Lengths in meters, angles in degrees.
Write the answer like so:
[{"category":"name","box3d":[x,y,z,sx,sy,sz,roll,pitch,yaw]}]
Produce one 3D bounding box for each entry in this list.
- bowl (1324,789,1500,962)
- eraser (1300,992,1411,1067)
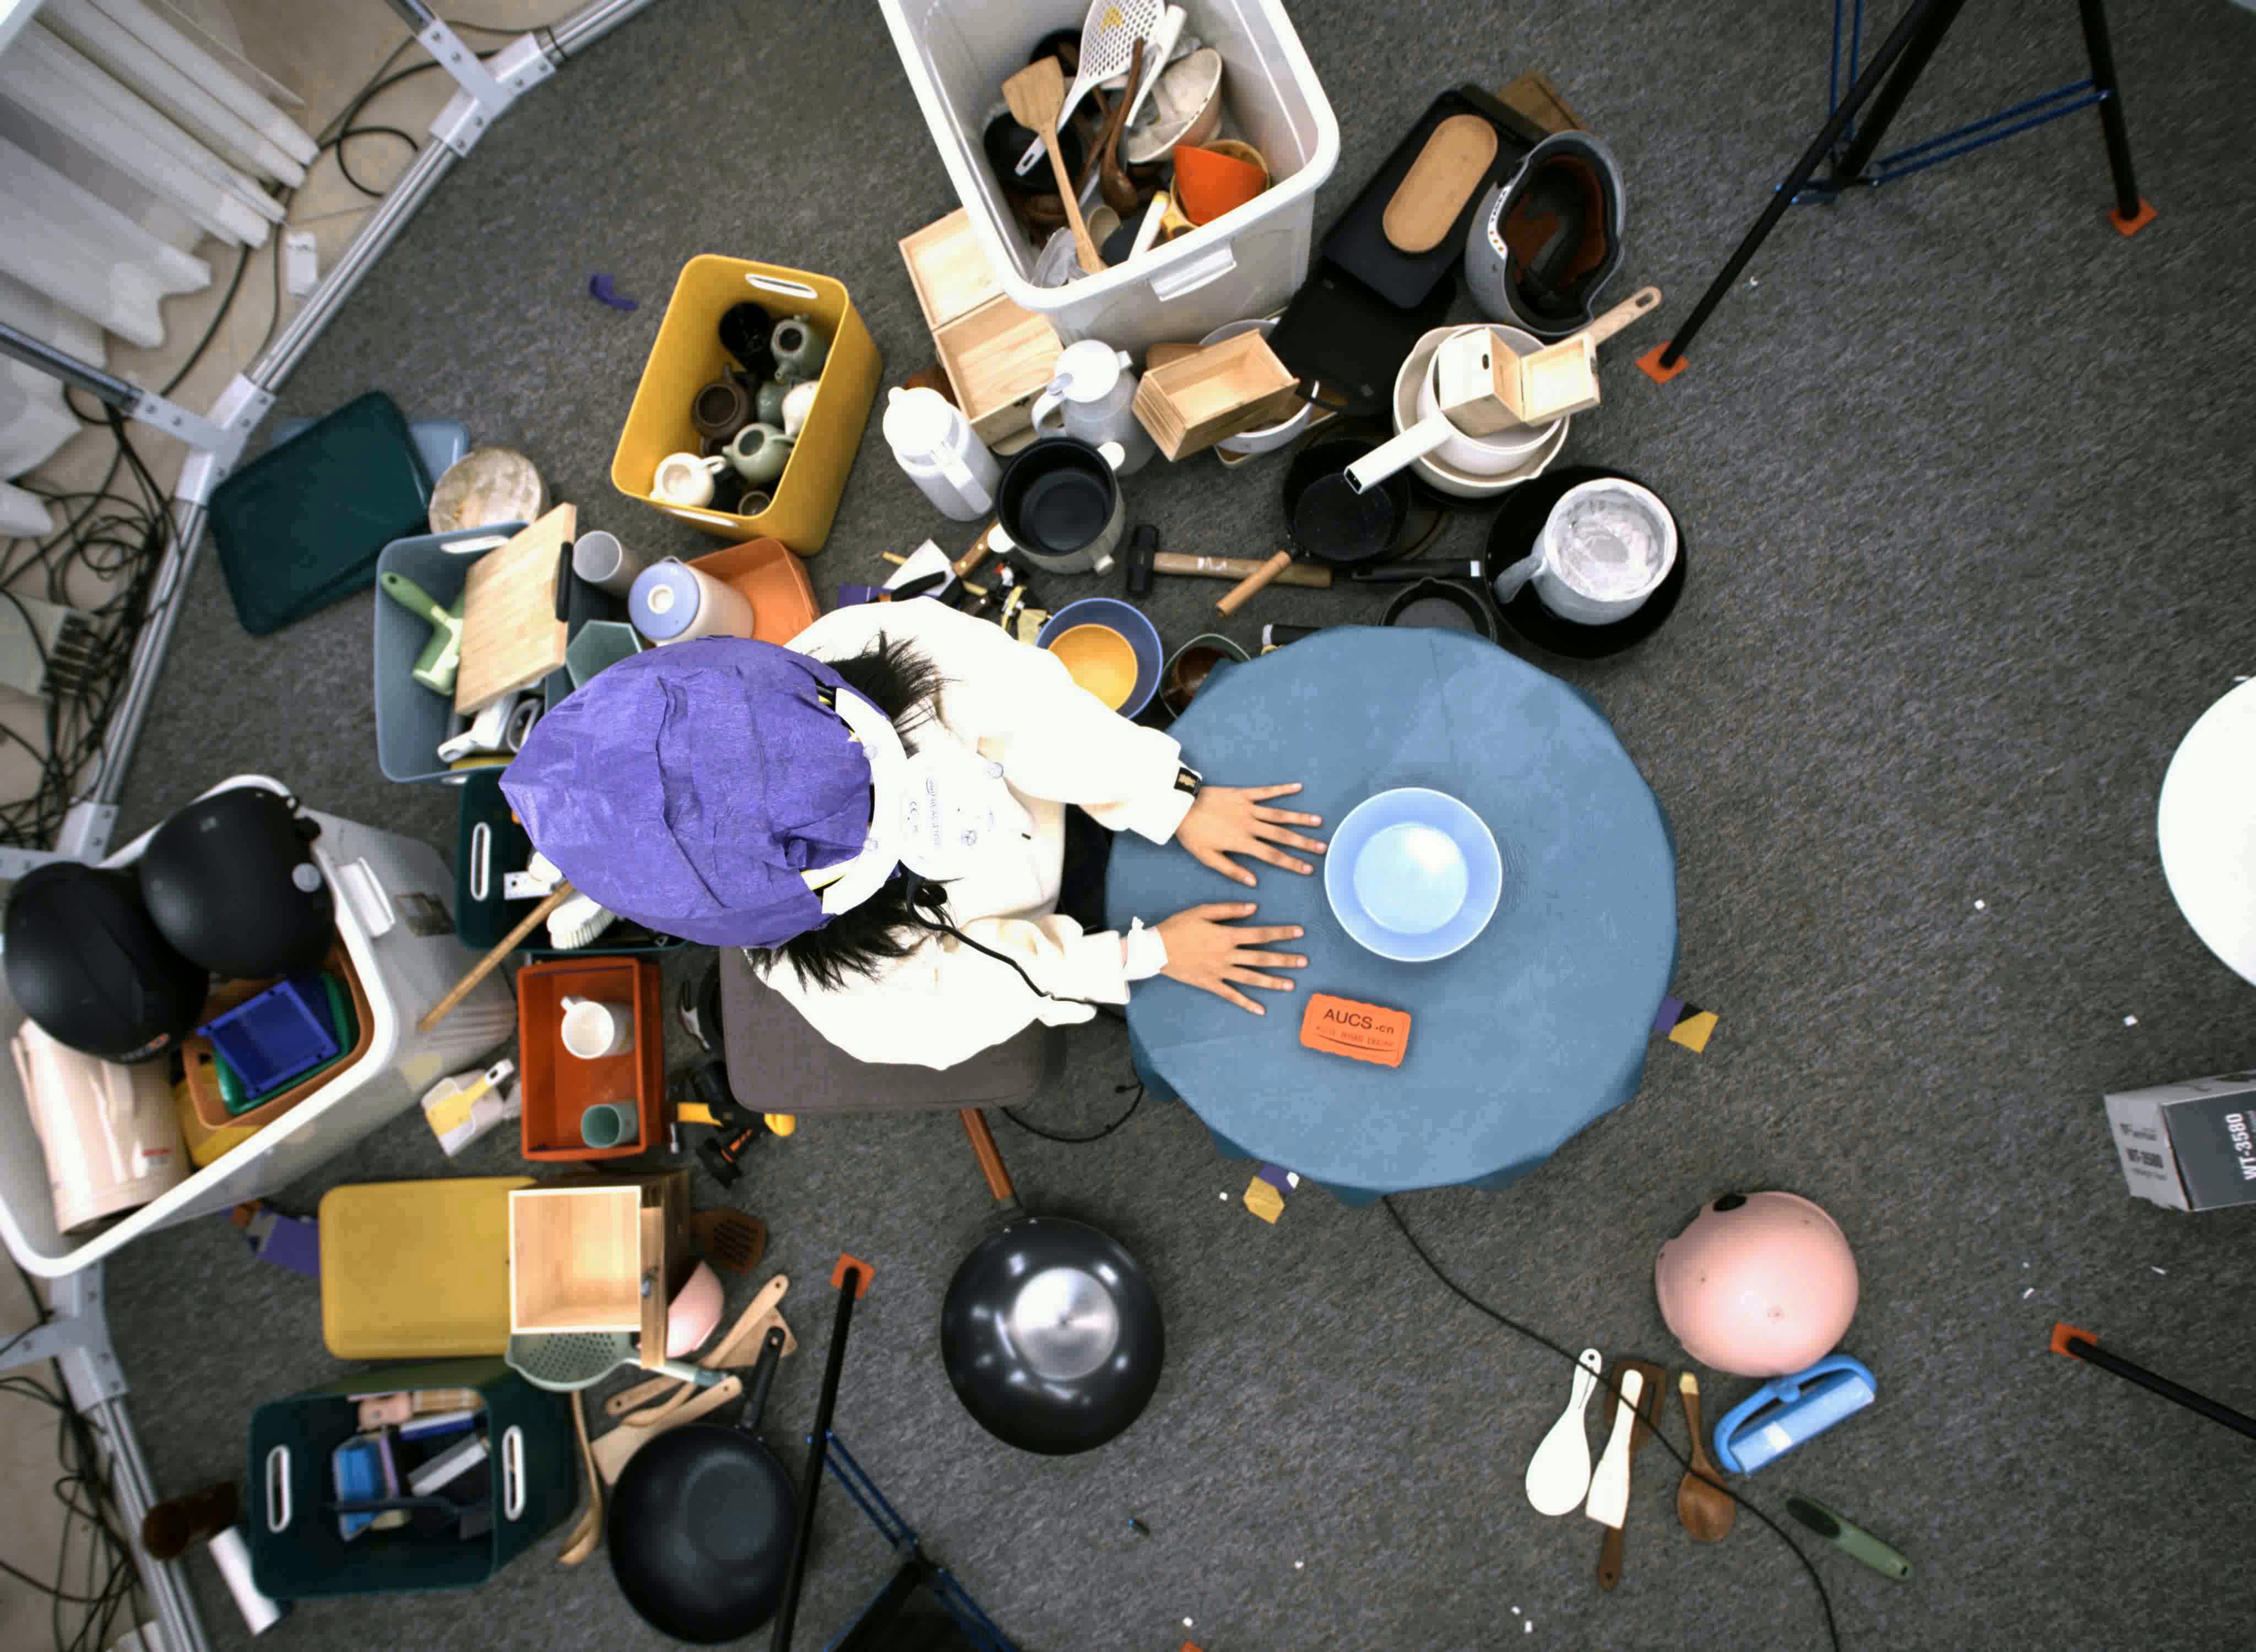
[{"category":"bowl","box3d":[0.290,0.051,1.421,0.177,0.070,0.175,-1,86,10]},{"category":"eraser","box3d":[0.238,0.211,1.447,0.108,0.023,0.059,12,91,11]}]
